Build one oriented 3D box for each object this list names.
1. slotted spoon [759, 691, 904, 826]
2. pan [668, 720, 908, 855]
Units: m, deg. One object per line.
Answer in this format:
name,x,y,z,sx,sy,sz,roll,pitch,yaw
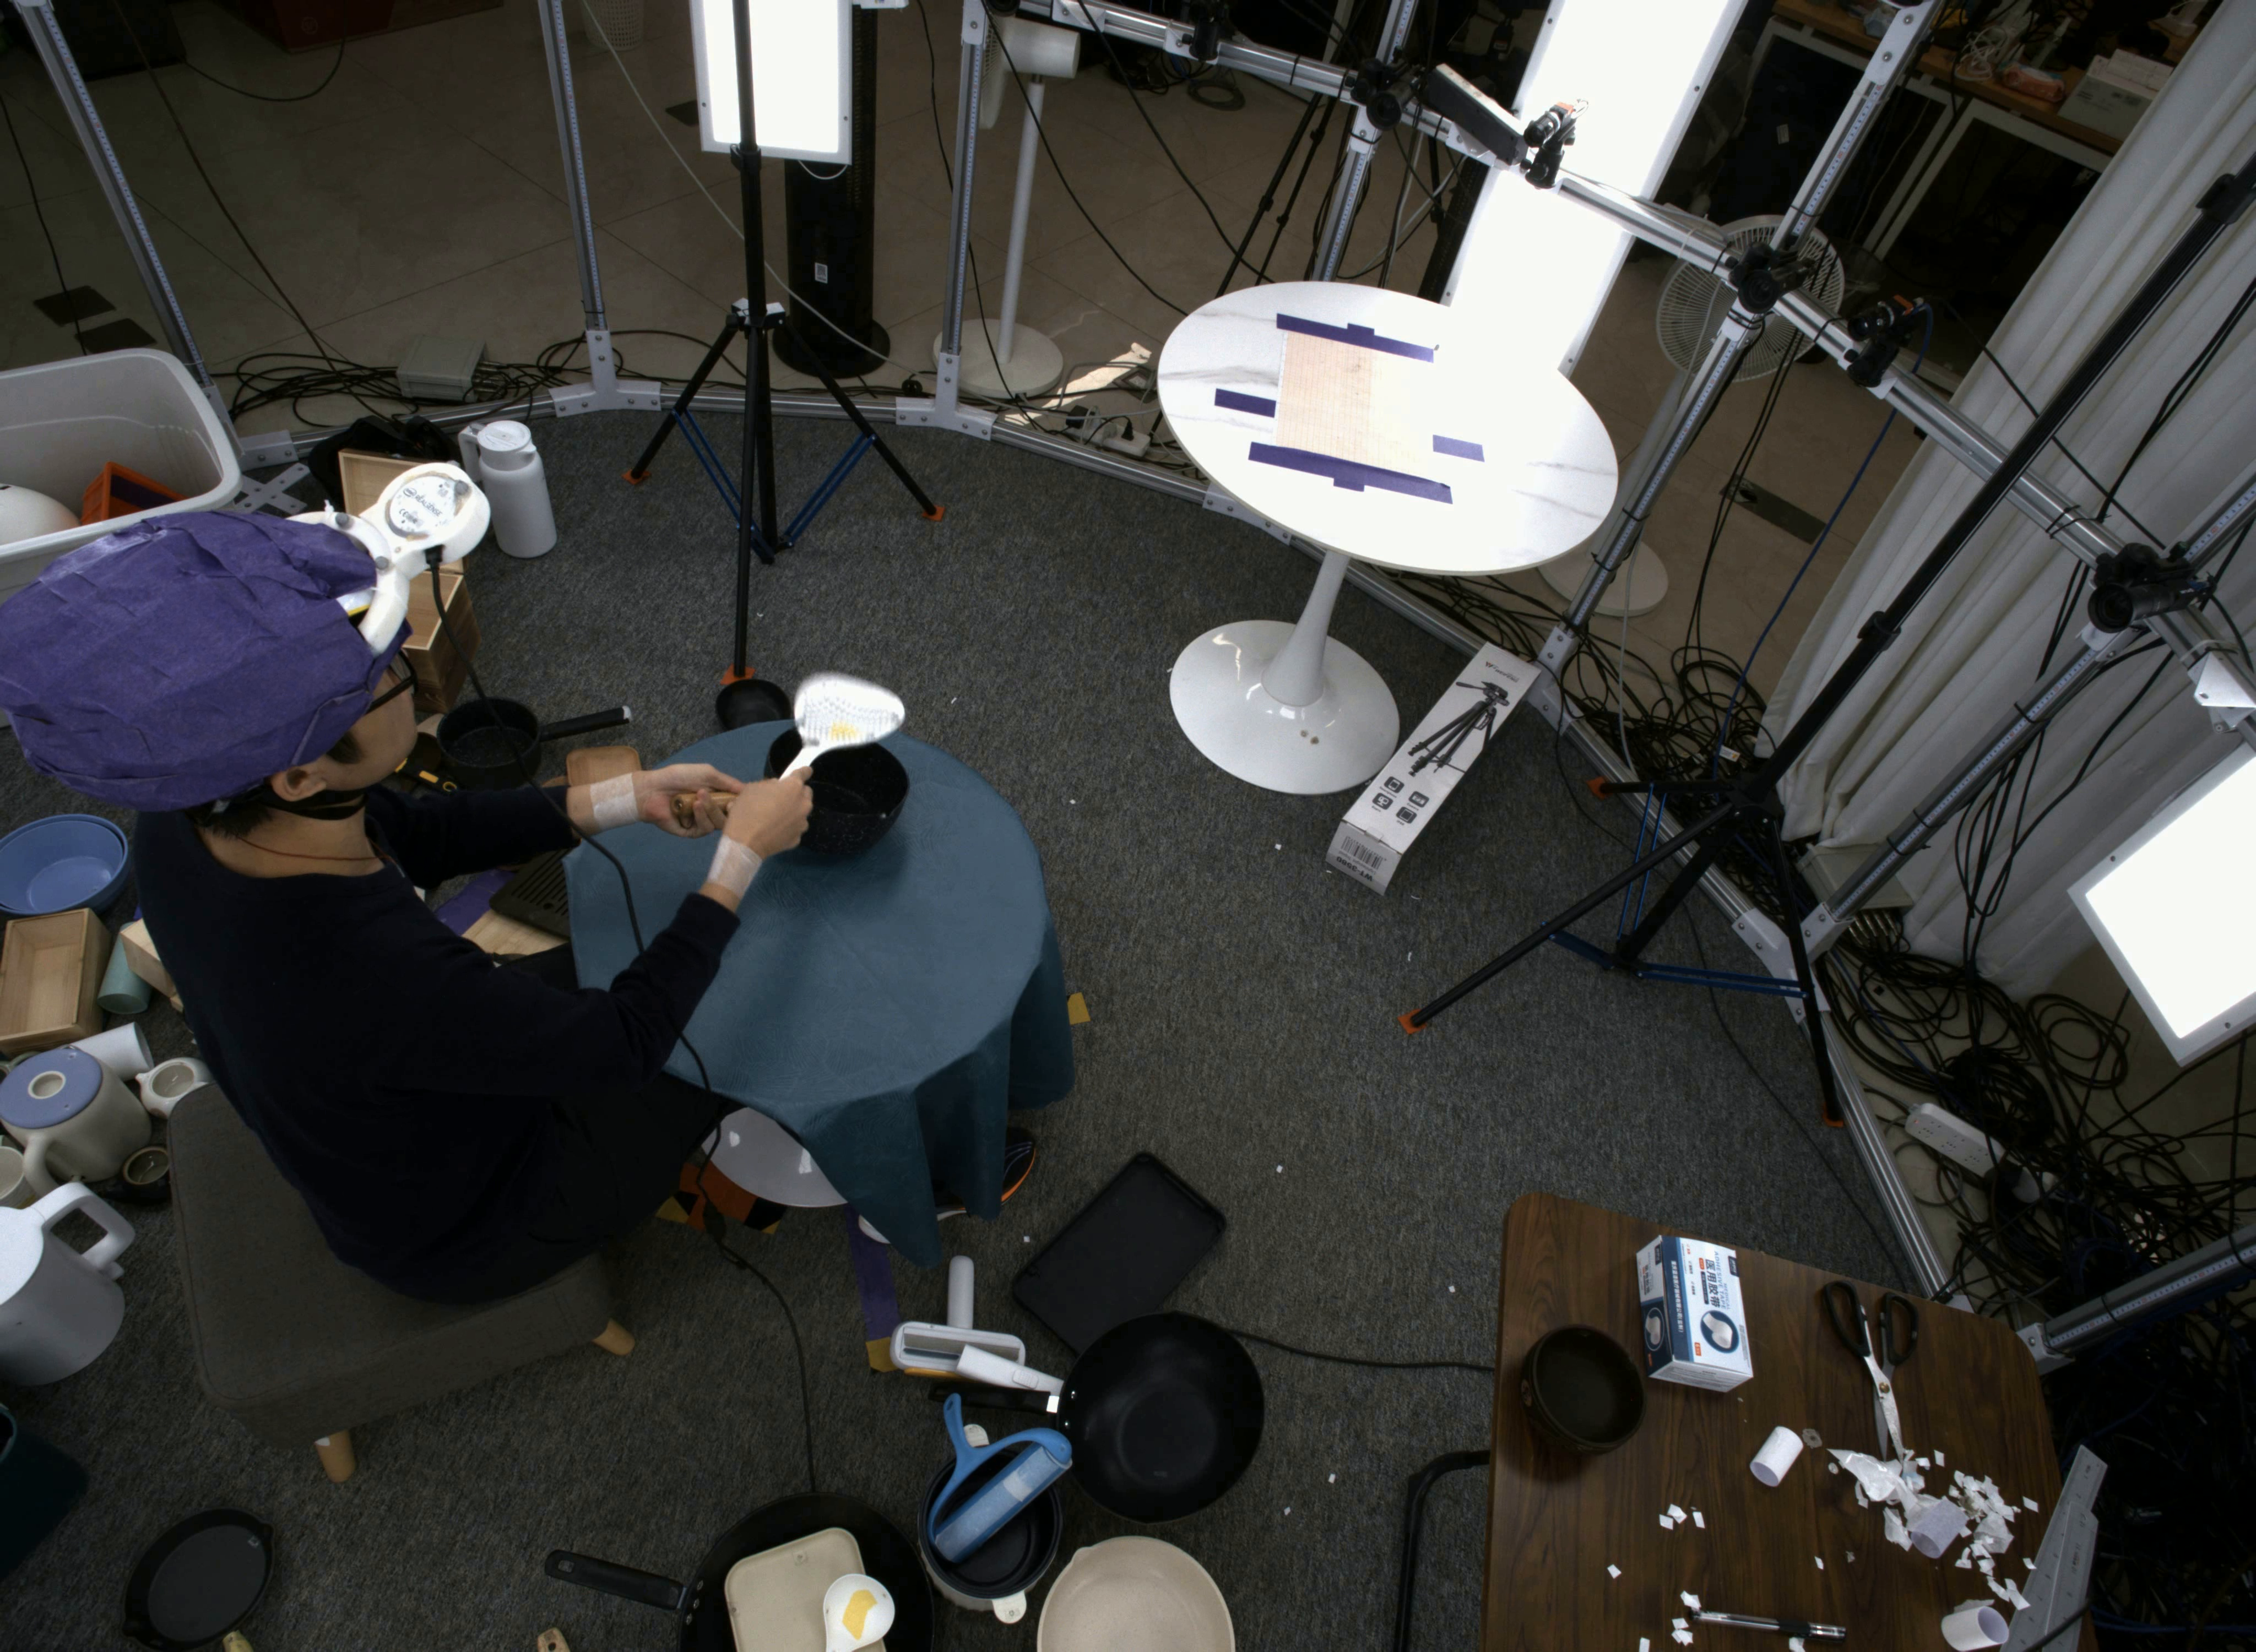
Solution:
slotted spoon,-0.375,-0.086,1.556,0.135,0.051,0.344,15,22,3
pan,-0.428,-0.034,1.608,0.202,0.110,0.346,40,33,20
